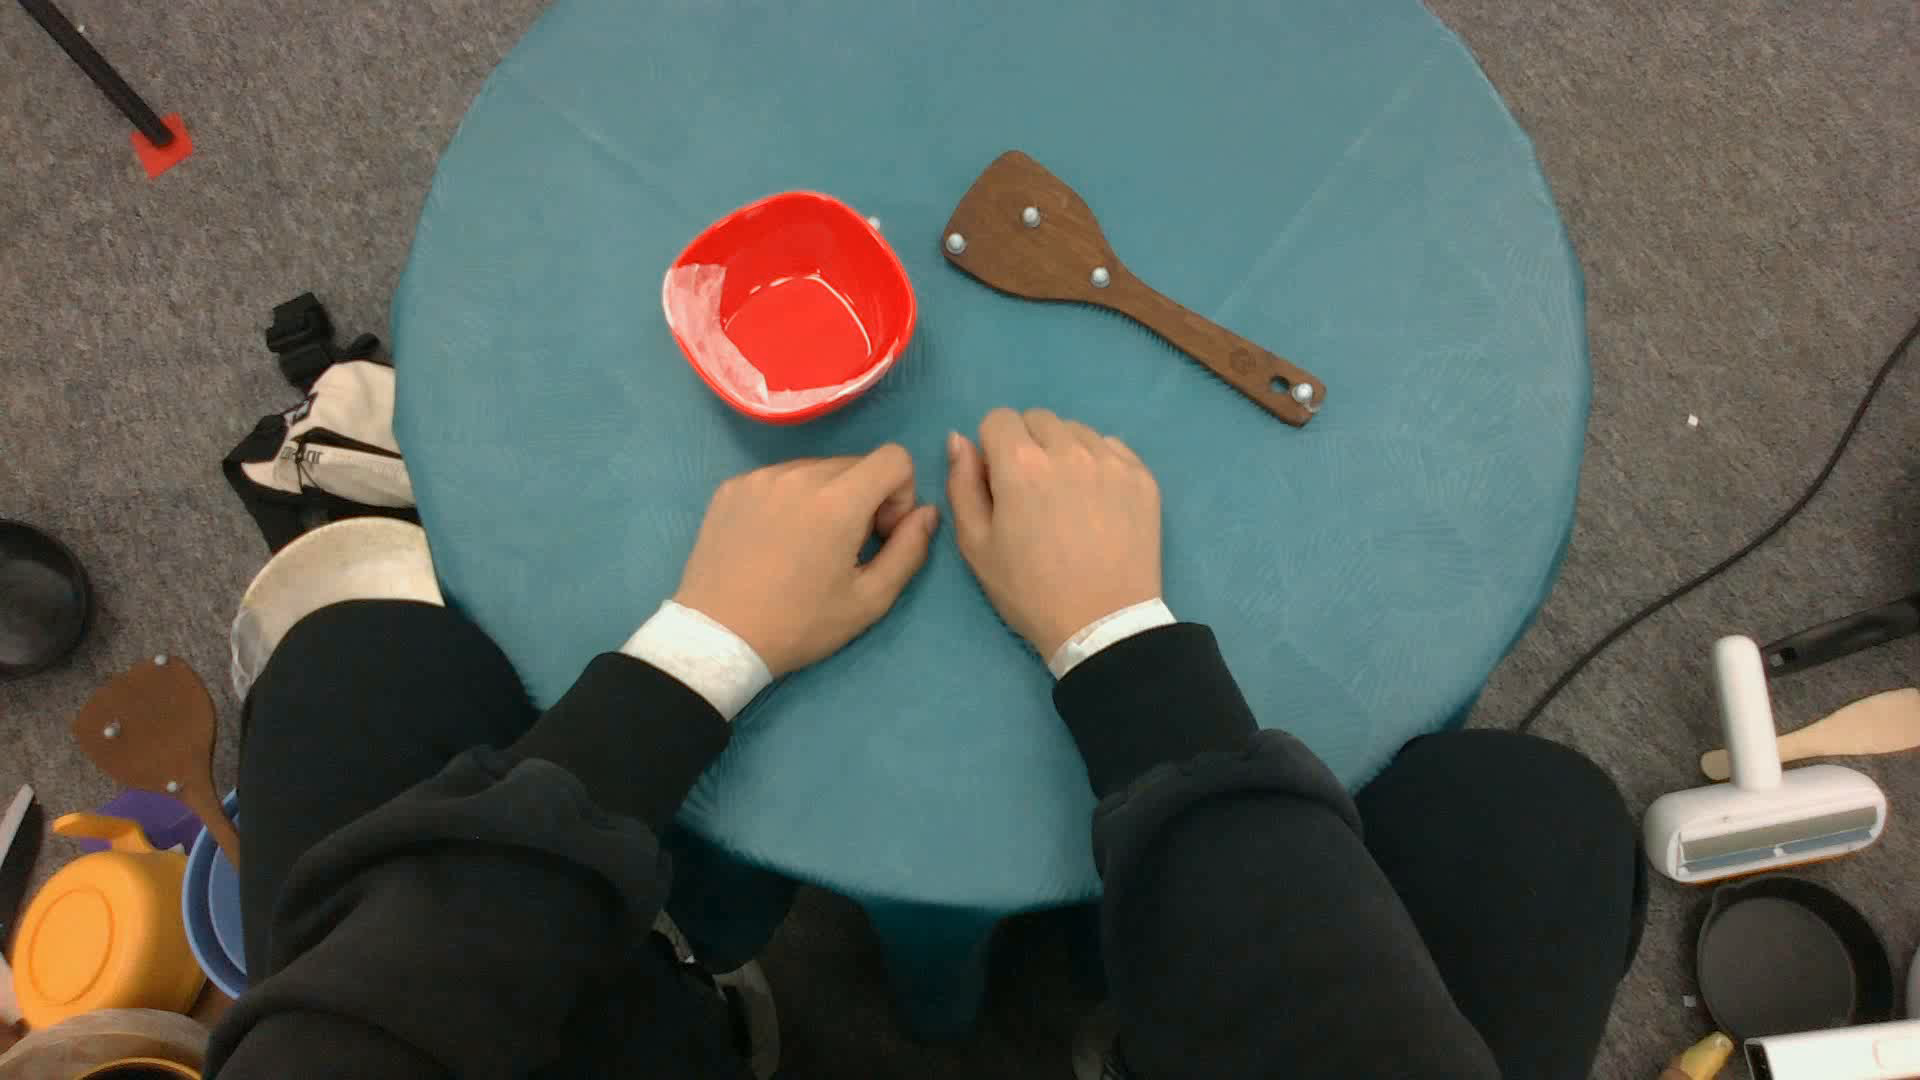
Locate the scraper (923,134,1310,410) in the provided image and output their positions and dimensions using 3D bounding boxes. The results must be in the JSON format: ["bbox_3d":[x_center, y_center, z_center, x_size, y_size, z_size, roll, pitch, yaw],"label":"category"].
[{"bbox_3d":[0.082,-0.129,0.696,0.211,0.011,0.076,33,75,8],"label":"scraper"}]

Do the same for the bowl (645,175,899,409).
[{"bbox_3d":[-0.088,-0.111,0.665,0.119,0.051,0.119,1,71,-2],"label":"bowl"}]
